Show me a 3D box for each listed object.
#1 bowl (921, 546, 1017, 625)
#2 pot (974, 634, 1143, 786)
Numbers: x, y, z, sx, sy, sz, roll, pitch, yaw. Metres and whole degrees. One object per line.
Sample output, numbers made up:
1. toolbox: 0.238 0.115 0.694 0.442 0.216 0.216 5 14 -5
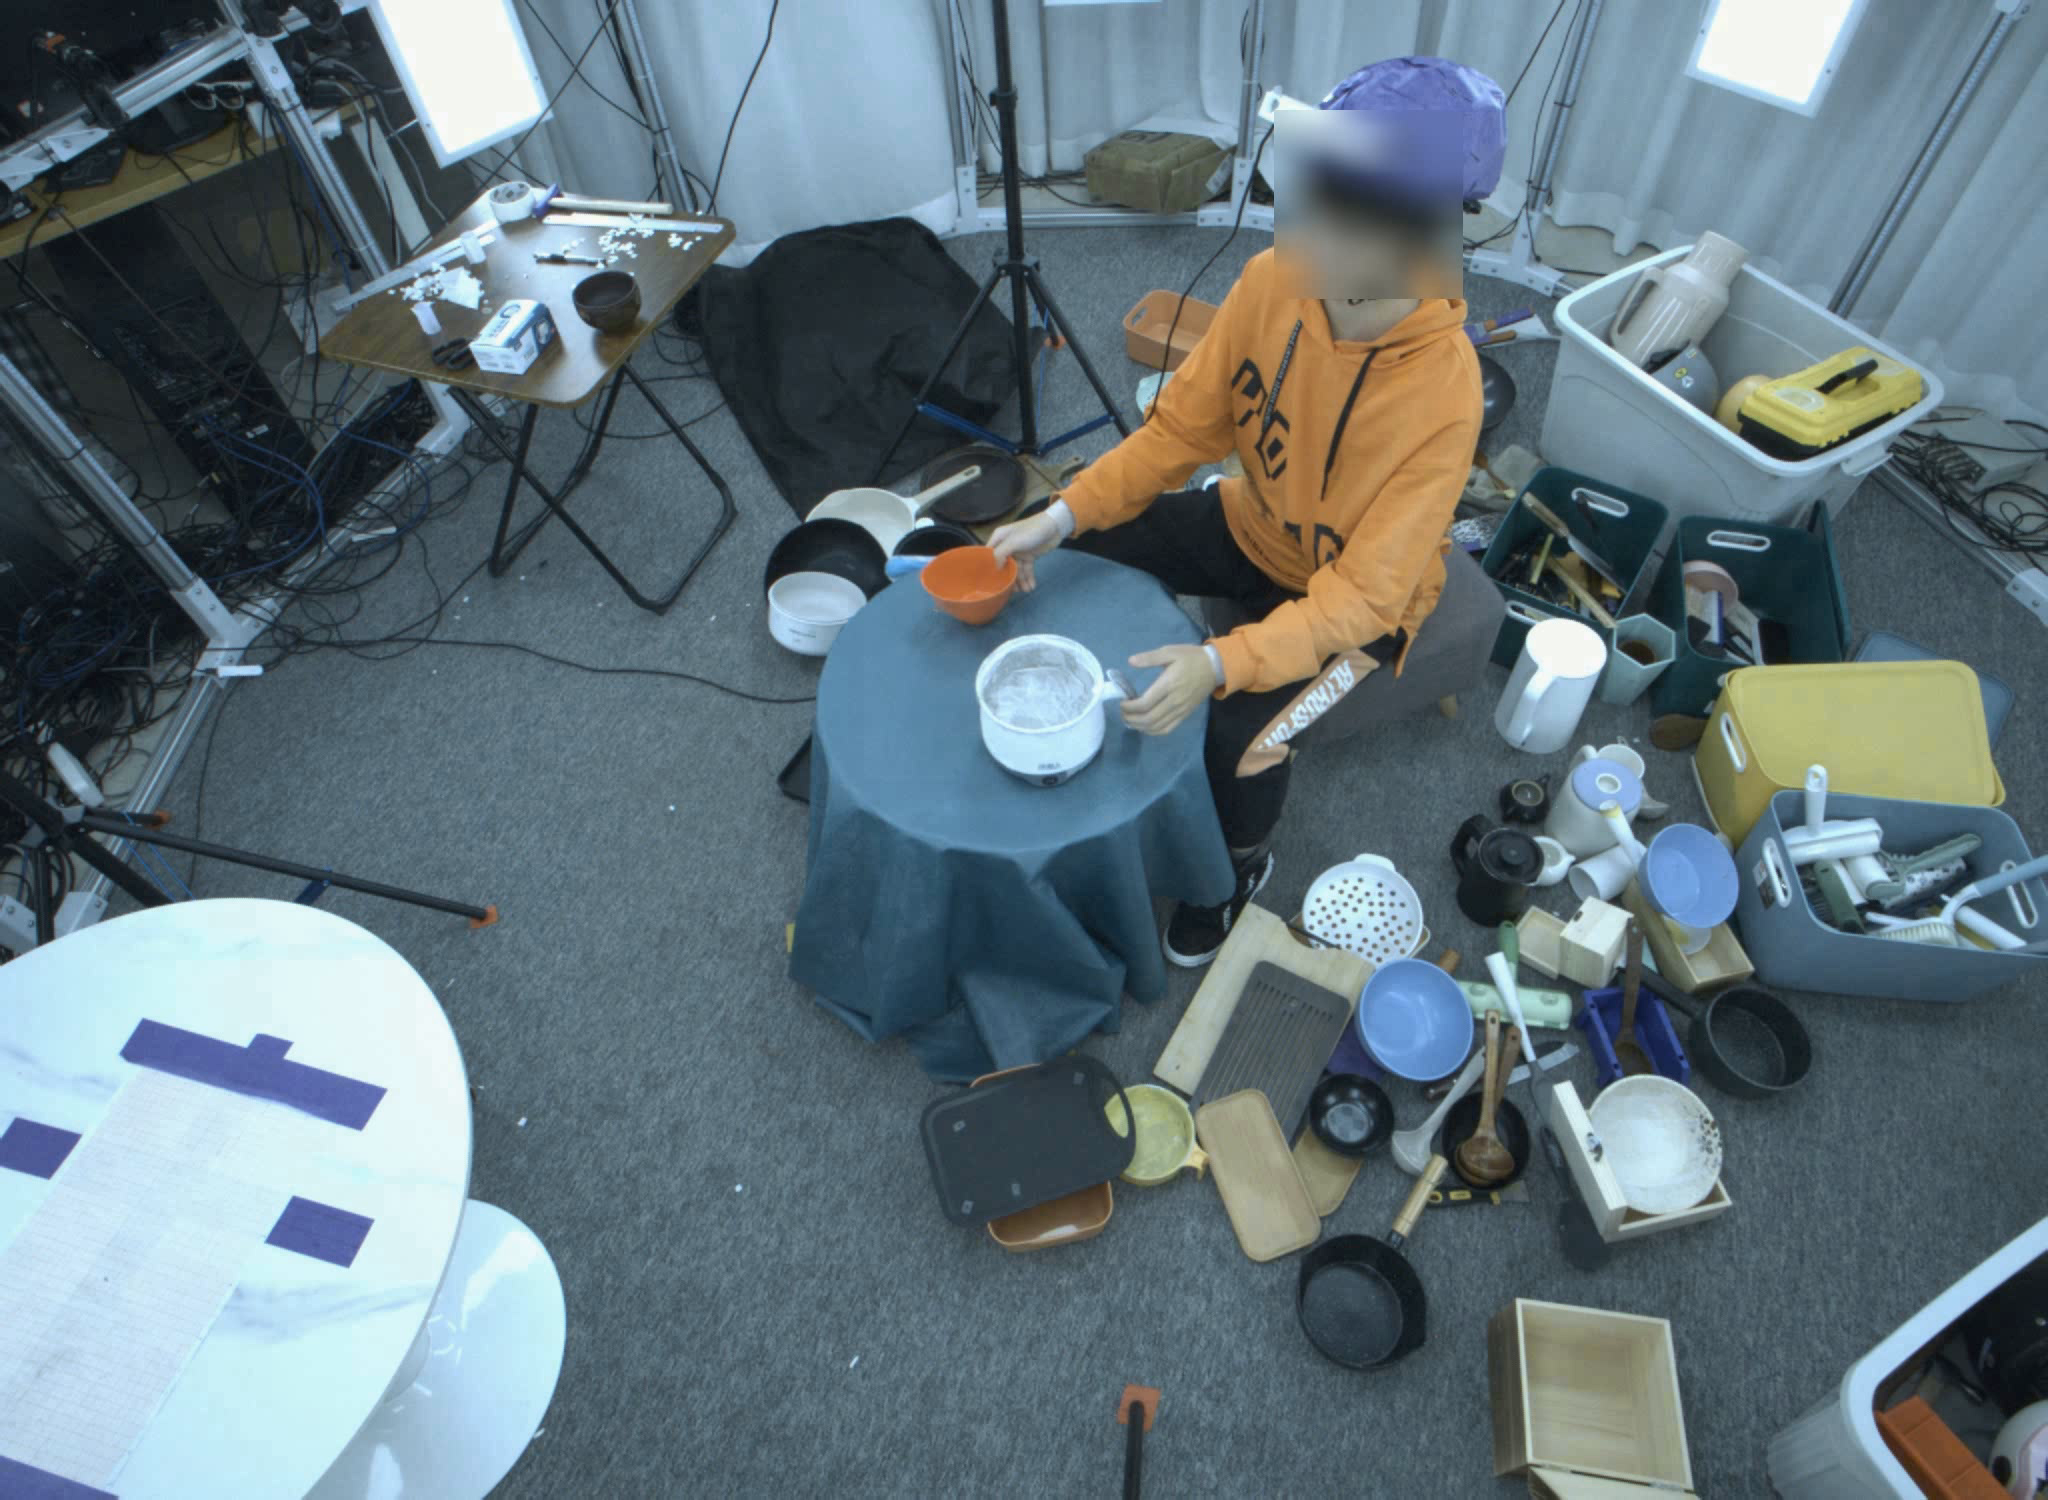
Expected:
1. bowl: -0.079 -0.244 1.900 0.147 0.106 0.146 -3 53 5
2. pot: 0.052 -0.060 1.742 0.234 0.138 0.176 -8 55 -2
